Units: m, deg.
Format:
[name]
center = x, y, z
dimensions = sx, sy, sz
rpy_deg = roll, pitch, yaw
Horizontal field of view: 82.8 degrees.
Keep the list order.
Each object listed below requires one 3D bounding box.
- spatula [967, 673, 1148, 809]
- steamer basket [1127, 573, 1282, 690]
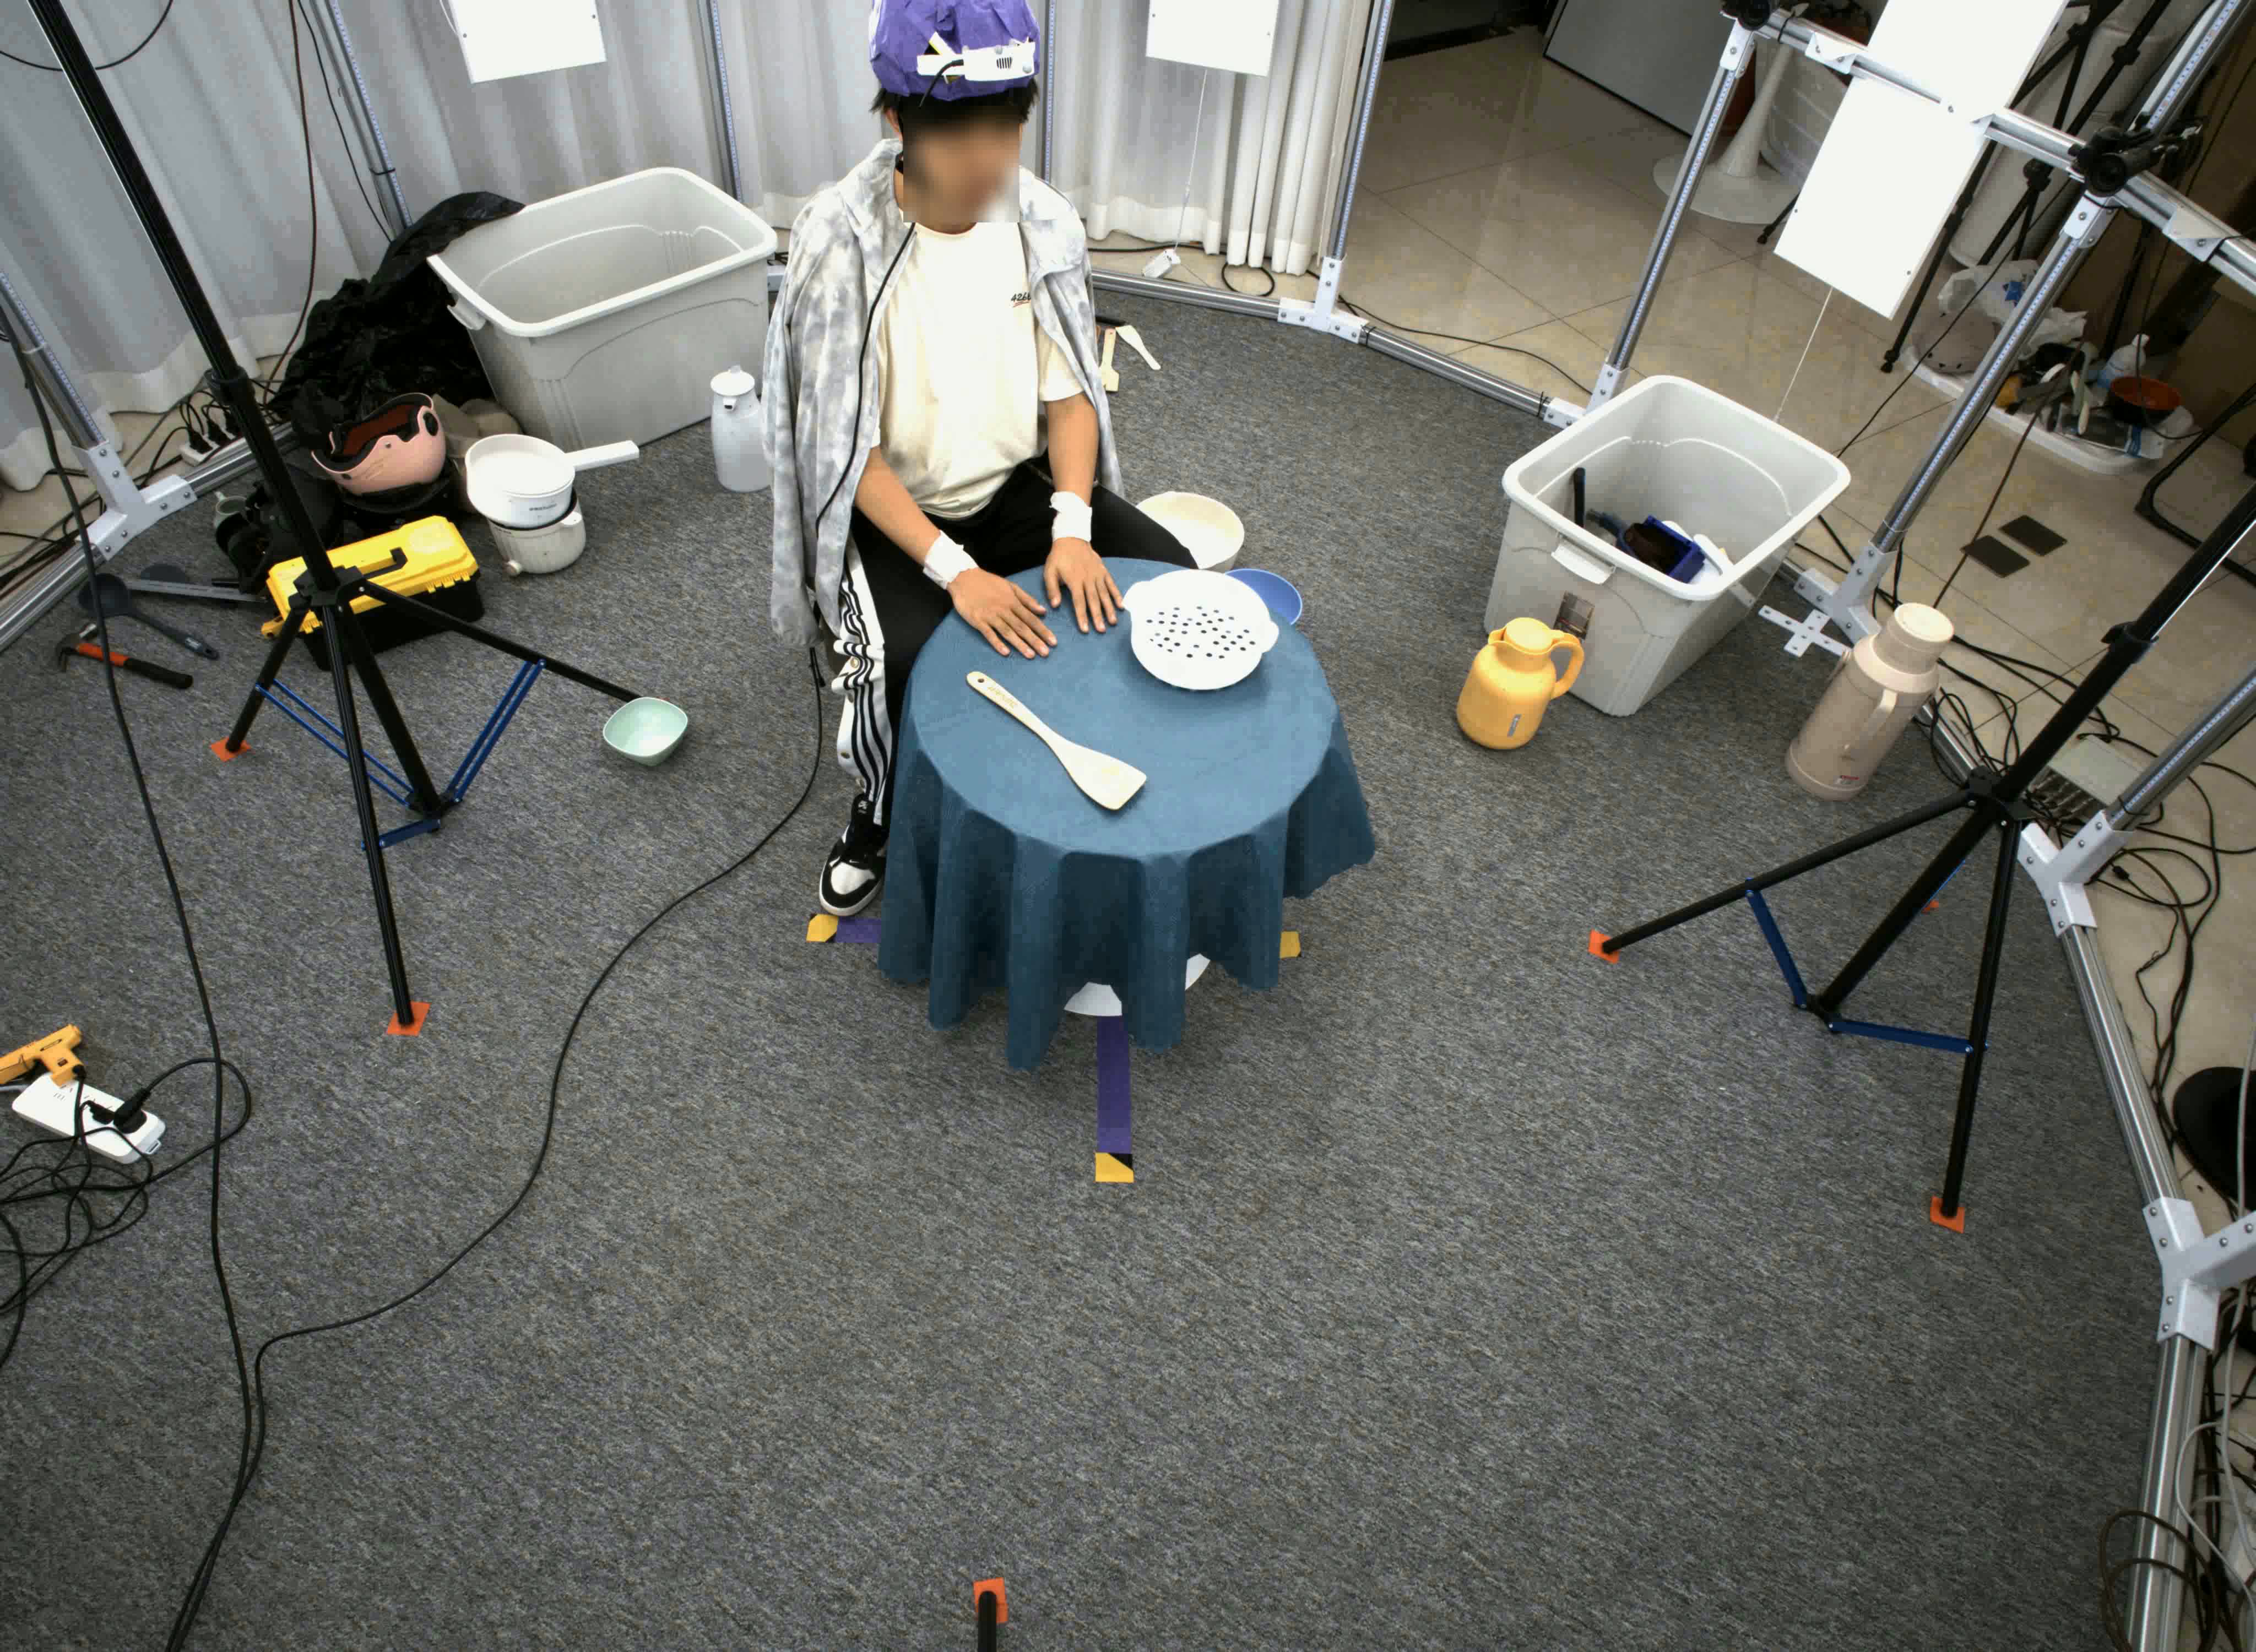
[spatula]
center = -0.105, -0.126, 1.751
dimensions = 0.332, 0.016, 0.080
rpy_deg = 38, 56, 26
[steamer basket]
center = 0.108, -0.283, 1.871
dimensions = 0.232, 0.067, 0.205
rpy_deg = 20, 49, 14
